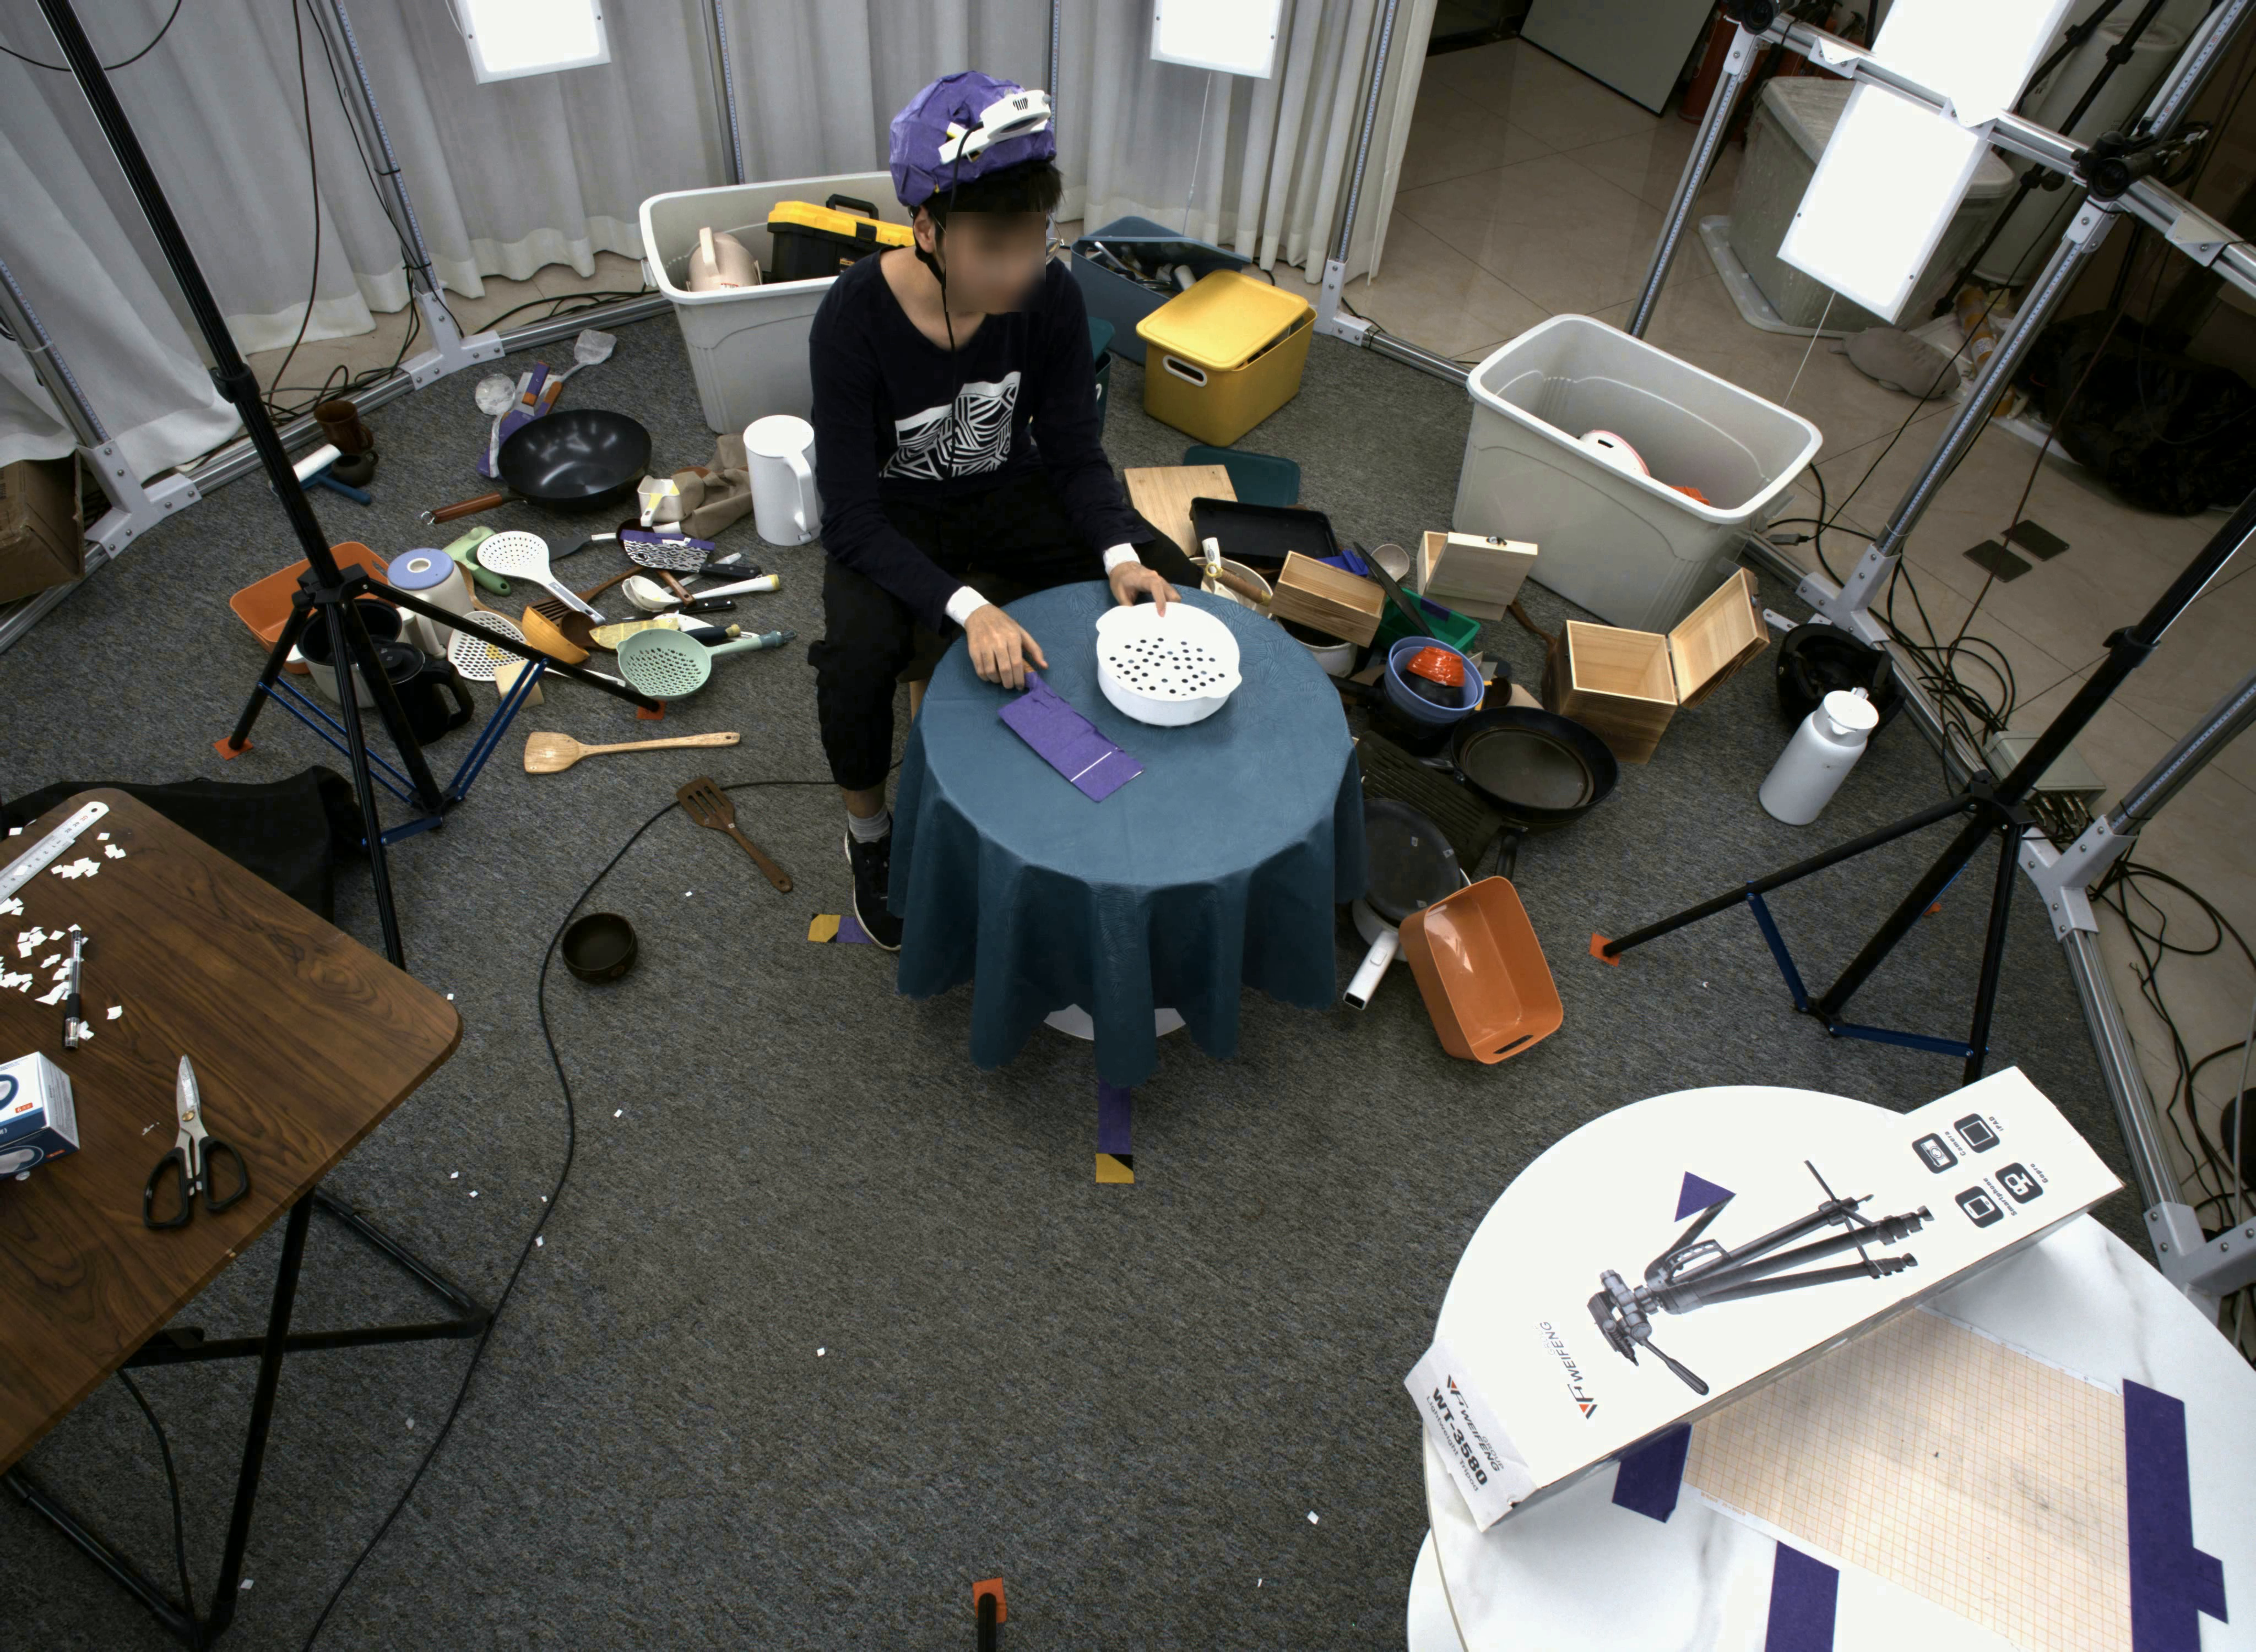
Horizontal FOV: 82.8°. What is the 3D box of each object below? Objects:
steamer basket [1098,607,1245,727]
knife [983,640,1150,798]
[{"bbox_3d":[0.059,-0.226,1.826,0.233,0.067,0.204,31,53,25],"label":"steamer basket"},{"bbox_3d":[-0.113,-0.151,1.773,0.105,0.031,0.320,-34,60,-29],"label":"knife"}]
